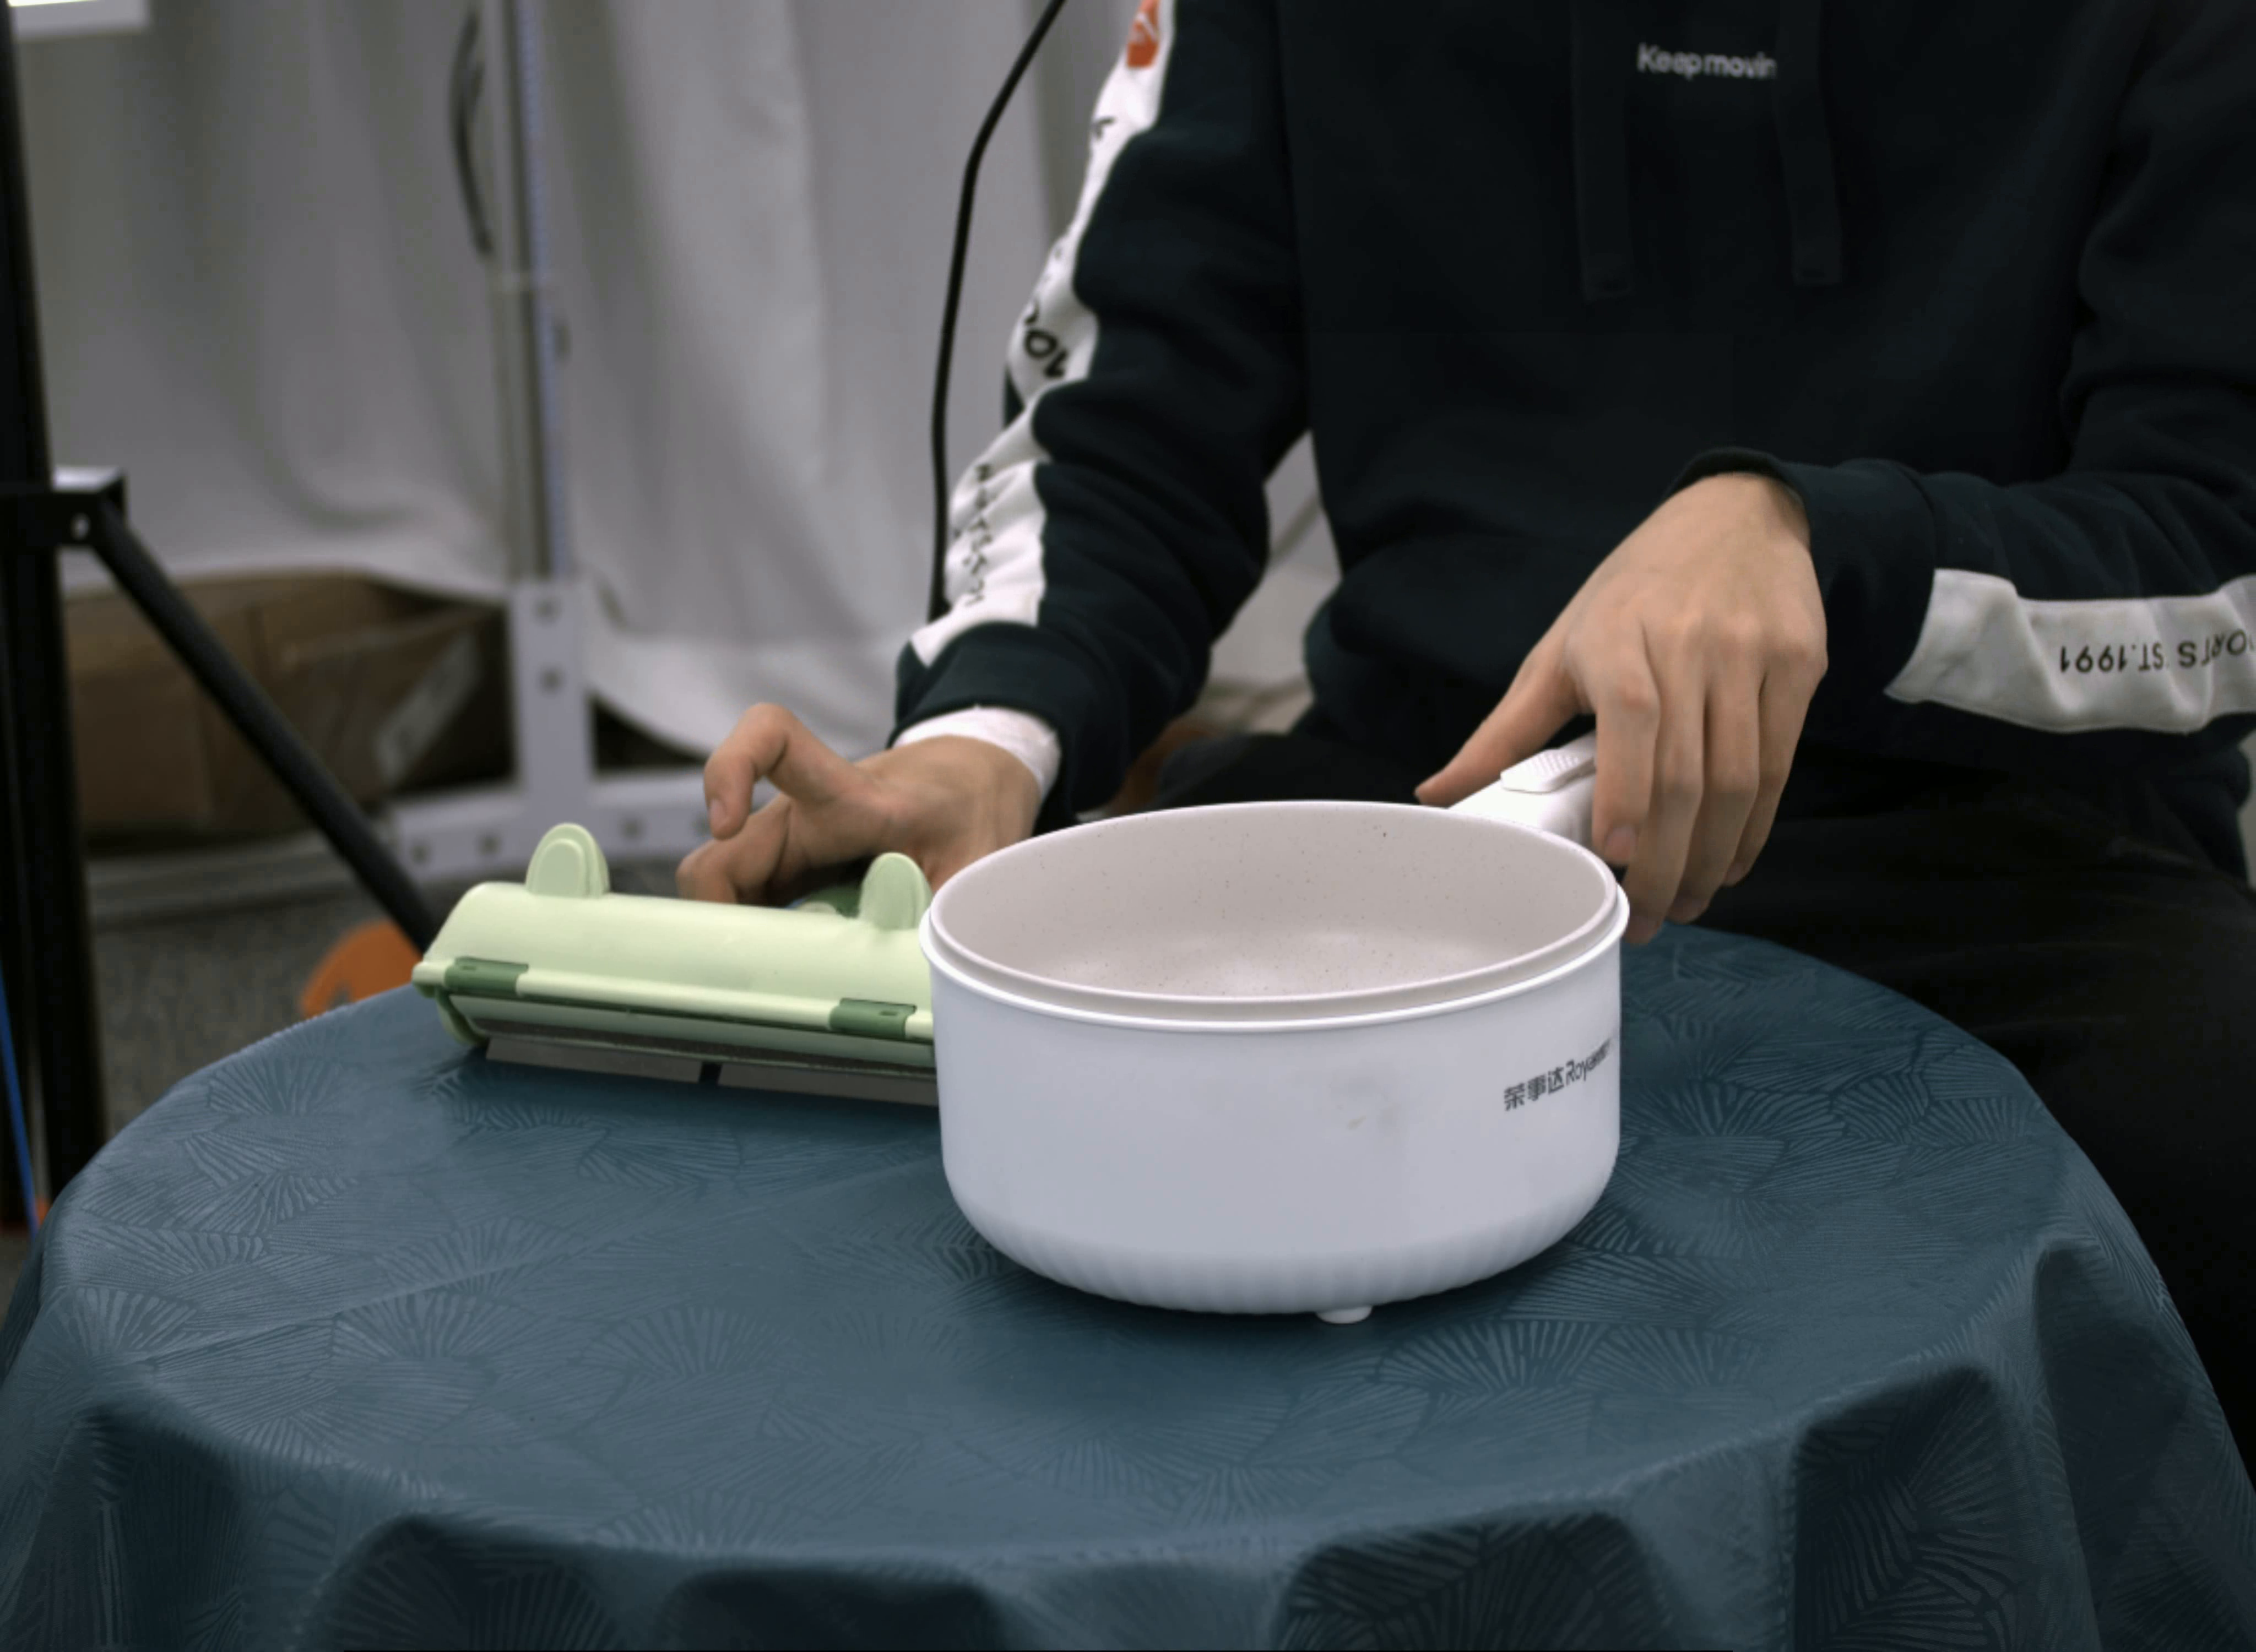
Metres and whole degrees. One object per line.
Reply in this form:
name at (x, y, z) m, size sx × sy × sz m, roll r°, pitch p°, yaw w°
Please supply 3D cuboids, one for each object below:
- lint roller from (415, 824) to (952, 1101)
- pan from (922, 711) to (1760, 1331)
lint roller at (-0.105, 0.026, 1.726) m, size 0.201 × 0.082 × 0.181 m, roll 4°, pitch 23°, yaw 25°
pan at (0.086, 0.052, 1.566) m, size 0.205 × 0.102 × 0.347 m, roll 7°, pitch 17°, yaw 34°
